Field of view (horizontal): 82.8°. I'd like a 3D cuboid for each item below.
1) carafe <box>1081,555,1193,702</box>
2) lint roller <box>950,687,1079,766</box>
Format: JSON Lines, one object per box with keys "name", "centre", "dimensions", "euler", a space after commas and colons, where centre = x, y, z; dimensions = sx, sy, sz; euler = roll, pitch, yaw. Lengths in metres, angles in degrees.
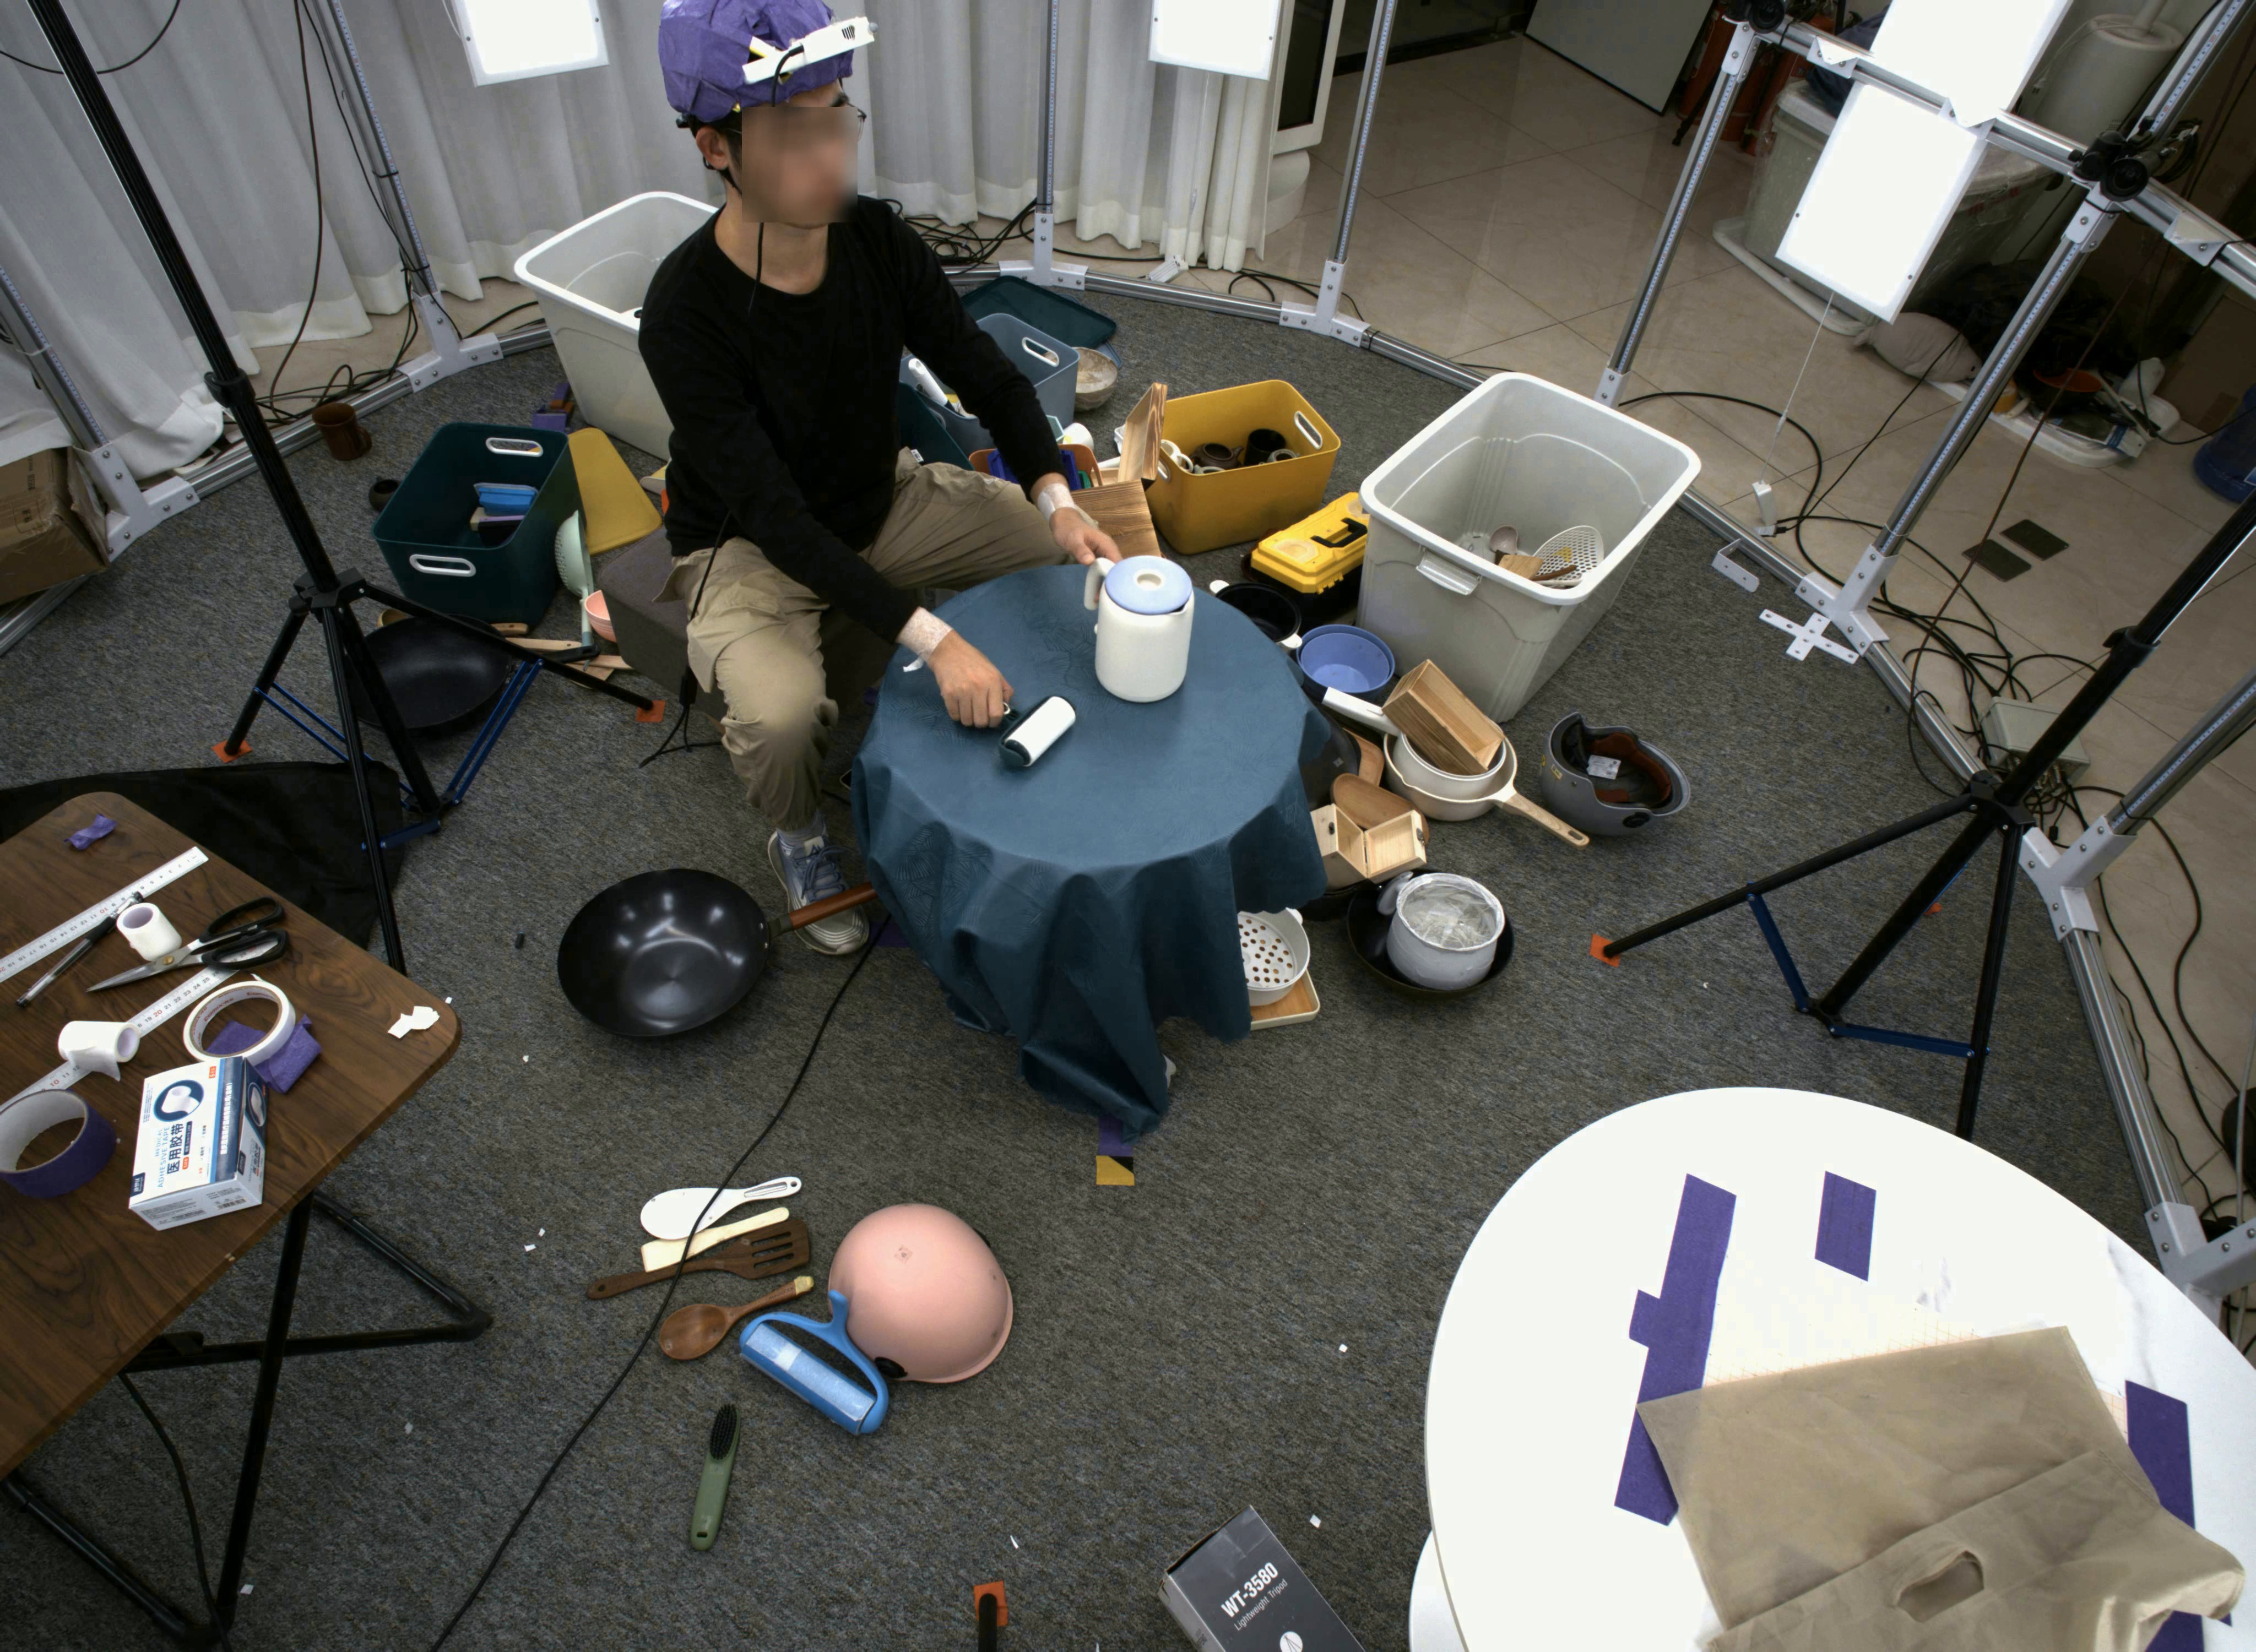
{"name": "carafe", "centre": [0.005, -0.290, 1.811], "dimensions": [0.133, 0.178, 0.194], "euler": [-34, 58, -29]}
{"name": "lint roller", "centre": [-0.175, -0.162, 1.767], "dimensions": [0.182, 0.047, 0.136], "euler": [32, 55, 22]}
